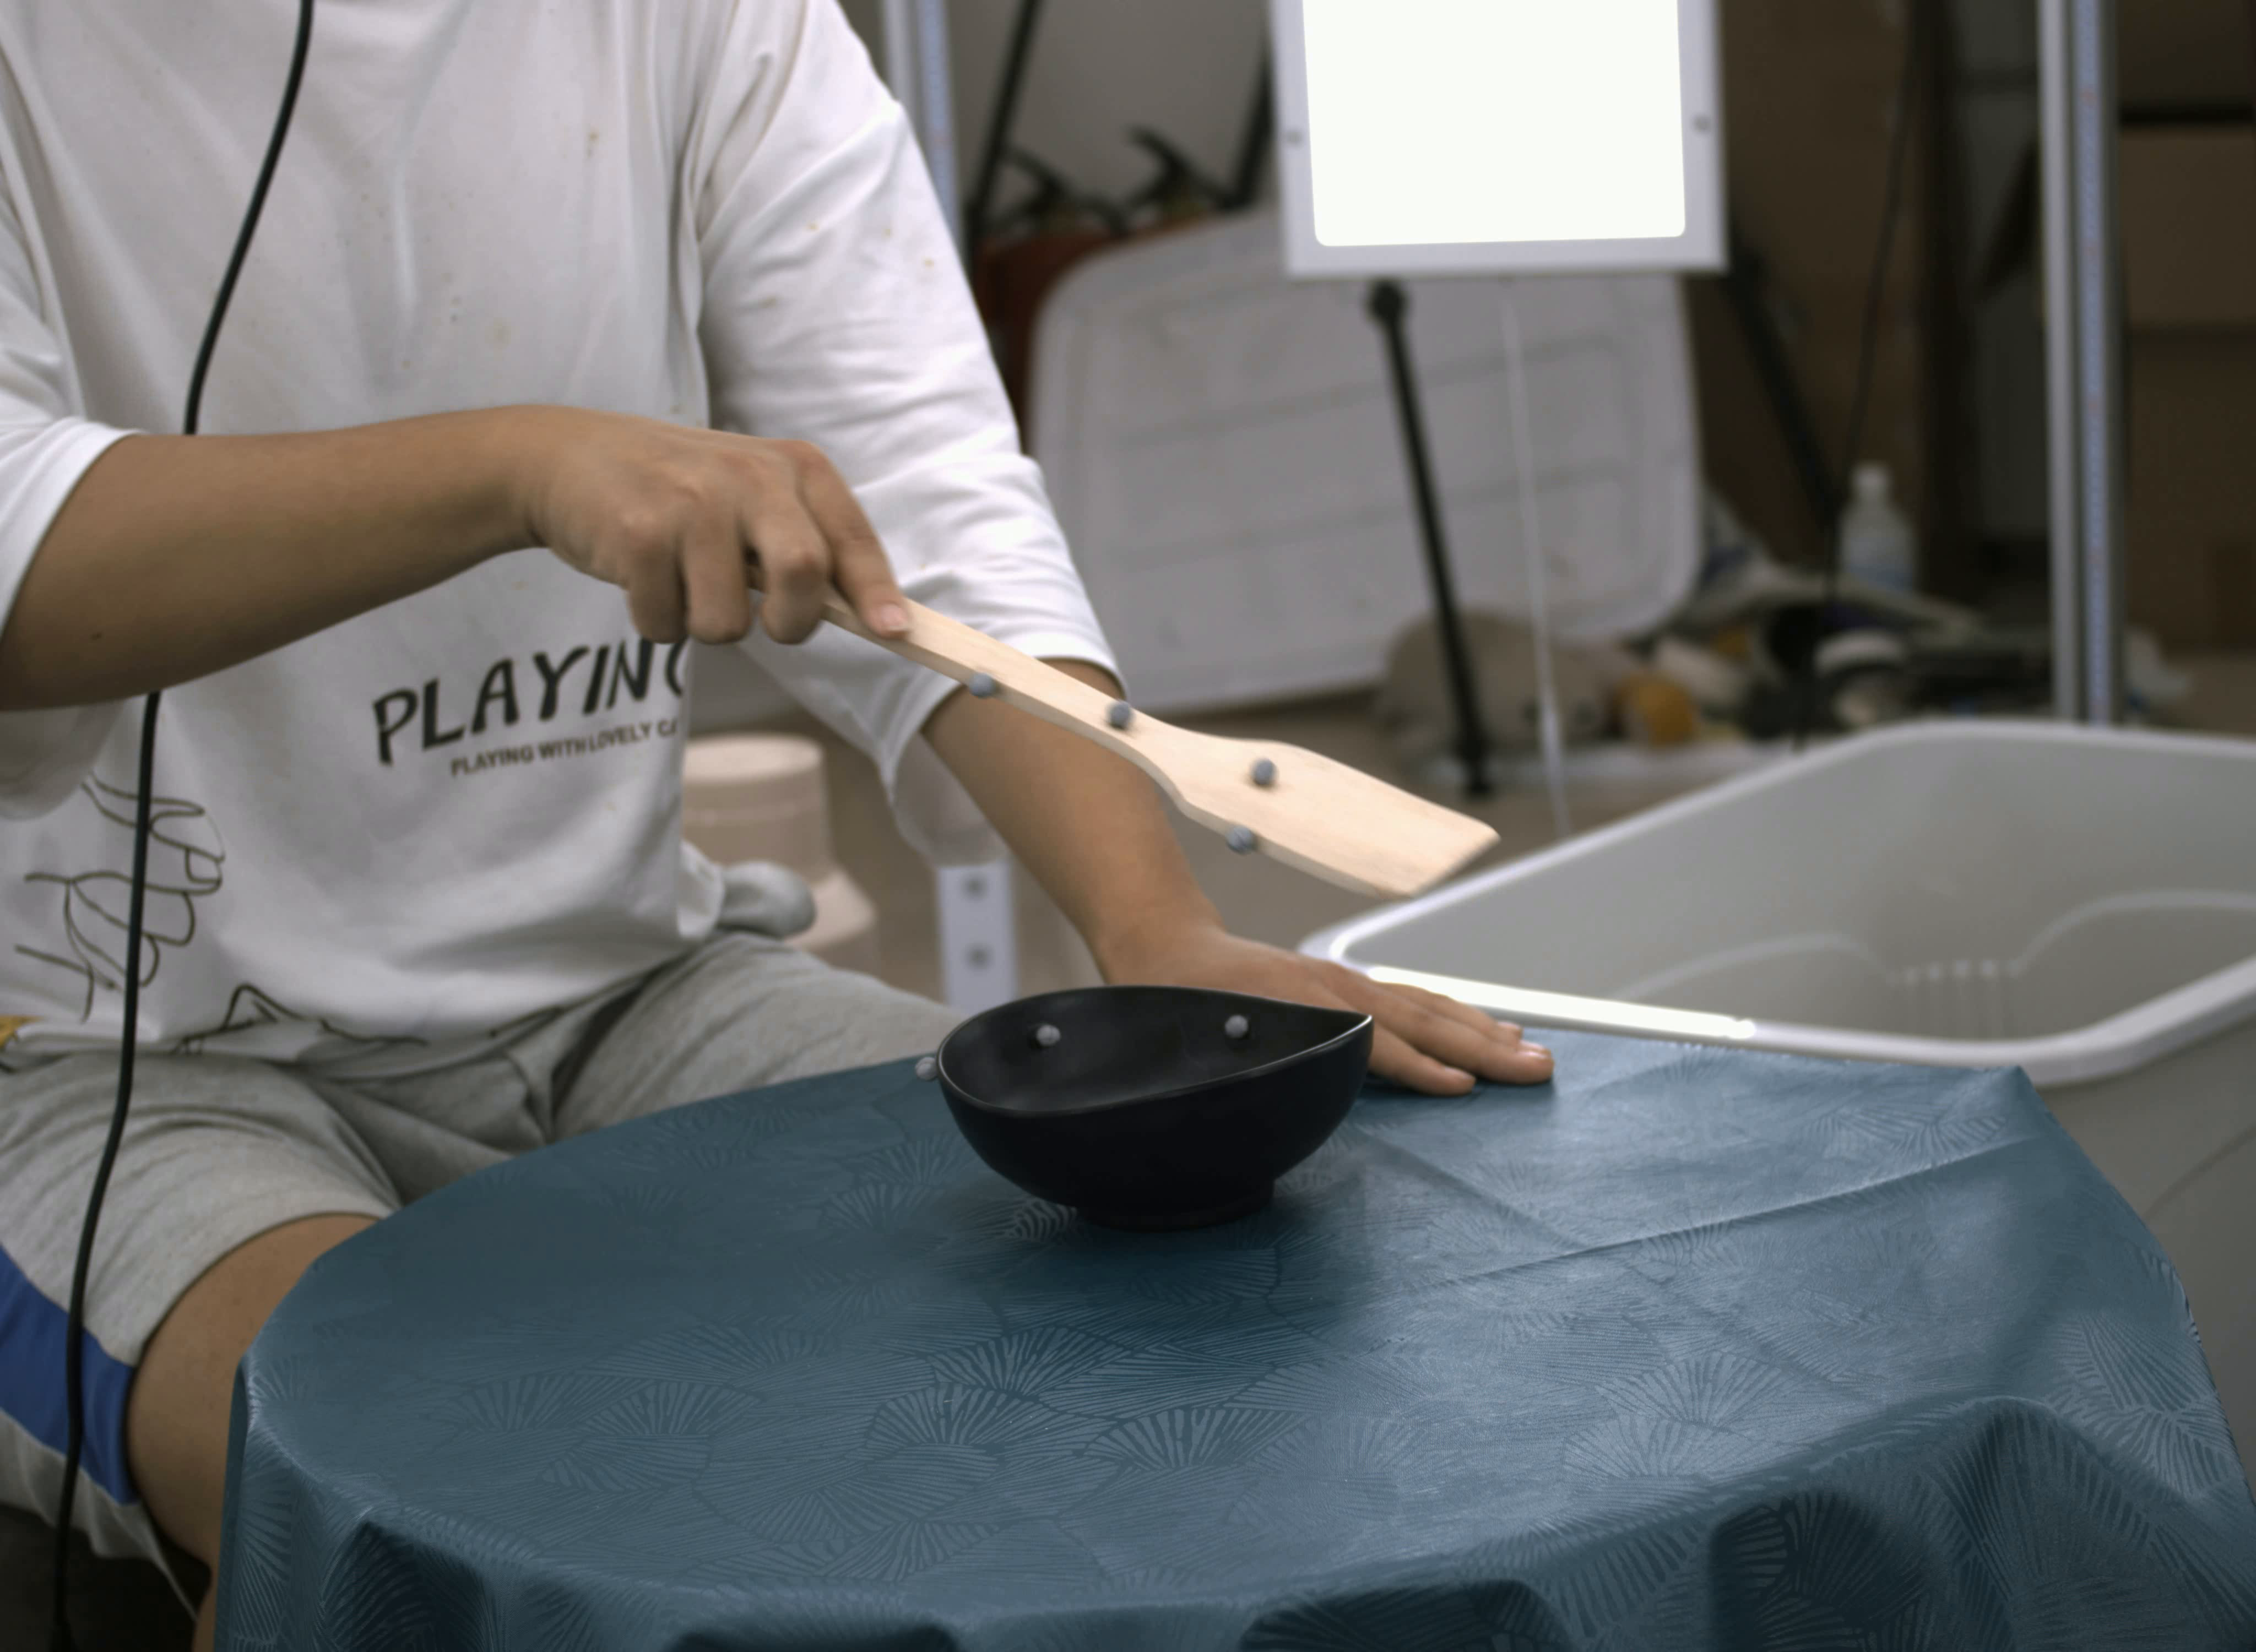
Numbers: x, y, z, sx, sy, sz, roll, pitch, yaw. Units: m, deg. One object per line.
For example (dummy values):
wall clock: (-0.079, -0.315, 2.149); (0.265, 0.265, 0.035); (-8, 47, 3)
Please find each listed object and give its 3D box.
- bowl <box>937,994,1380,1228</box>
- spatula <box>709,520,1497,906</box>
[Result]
bowl: (0.013, 0.098, 1.877); (0.140, 0.067, 0.166); (6, 15, 40)
spatula: (-0.017, -0.041, 1.821); (0.297, 0.011, 0.070); (26, 30, 23)
